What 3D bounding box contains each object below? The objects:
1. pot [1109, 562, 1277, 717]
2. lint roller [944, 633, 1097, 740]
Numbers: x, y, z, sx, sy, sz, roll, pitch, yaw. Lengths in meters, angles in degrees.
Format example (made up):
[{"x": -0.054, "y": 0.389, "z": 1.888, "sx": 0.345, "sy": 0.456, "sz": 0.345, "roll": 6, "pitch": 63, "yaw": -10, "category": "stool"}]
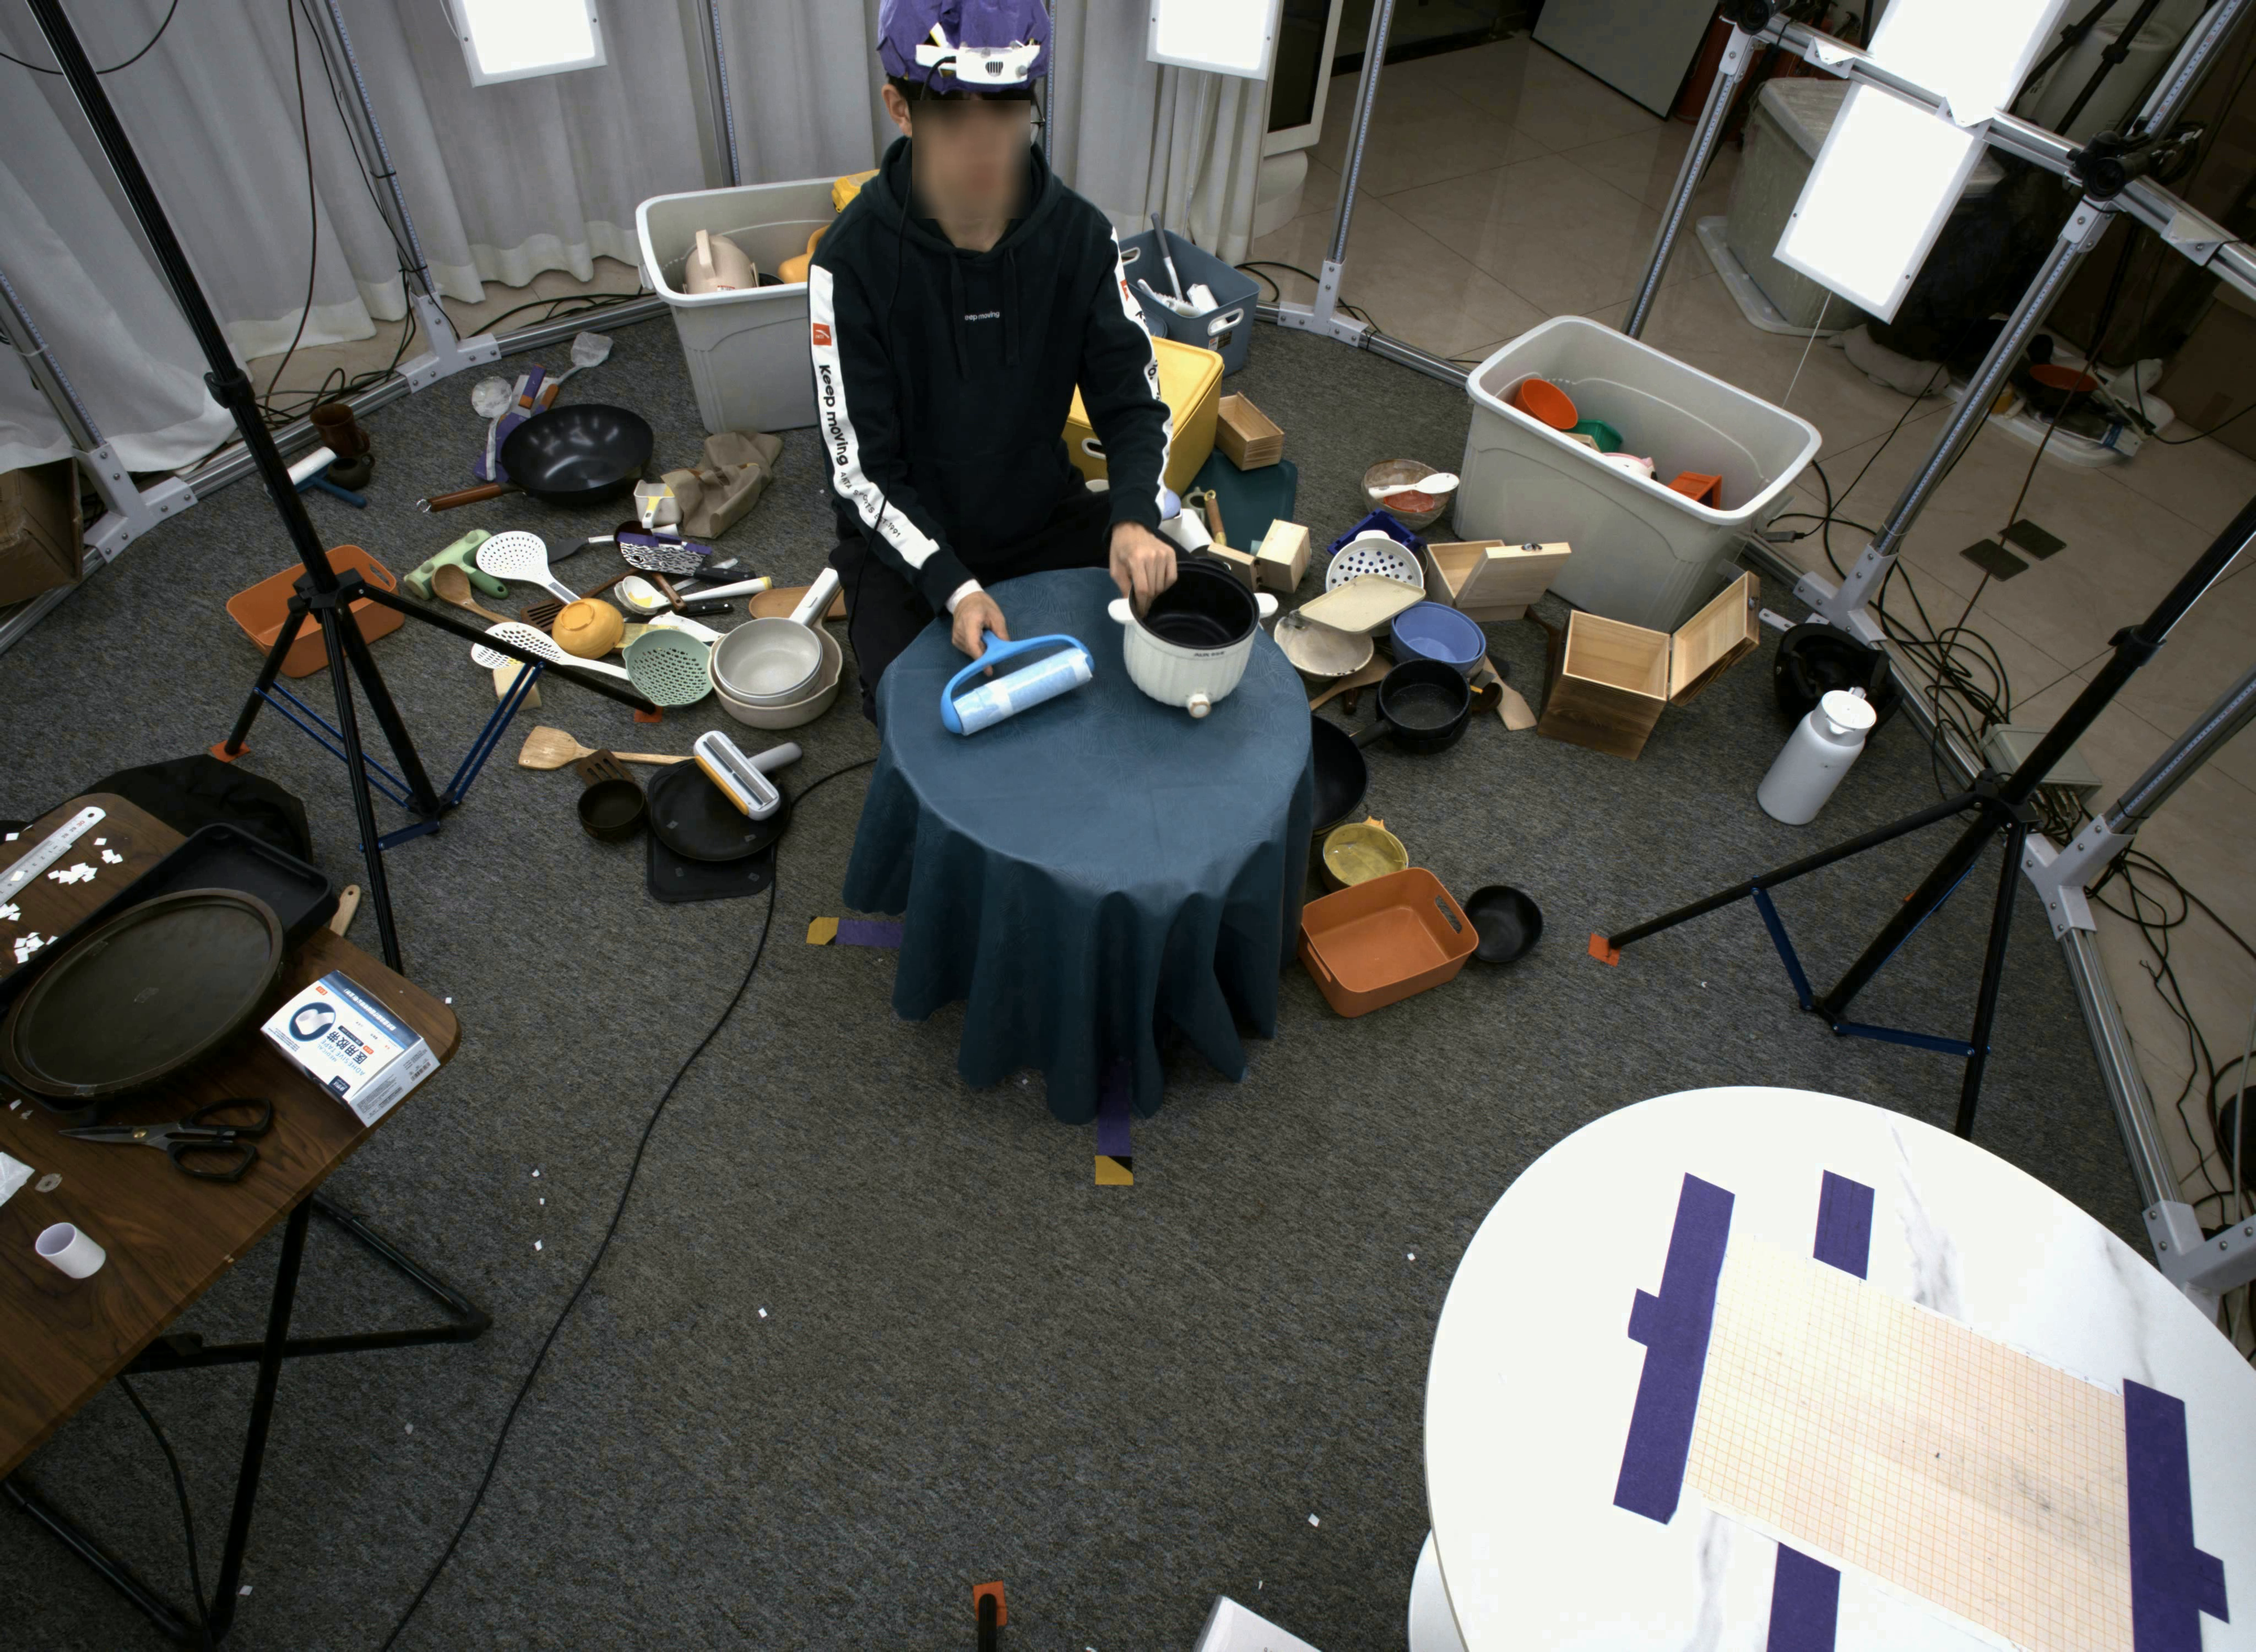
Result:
[{"x": 0.087, "y": -0.258, "z": 1.805, "sx": 0.240, "sy": 0.139, "sz": 0.195, "roll": -8, "pitch": 47, "yaw": -12, "category": "pot"}, {"x": -0.178, "y": -0.225, "z": 1.803, "sx": 0.230, "sy": 0.066, "sz": 0.184, "roll": -29, "pitch": 59, "yaw": -17, "category": "lint roller"}]
